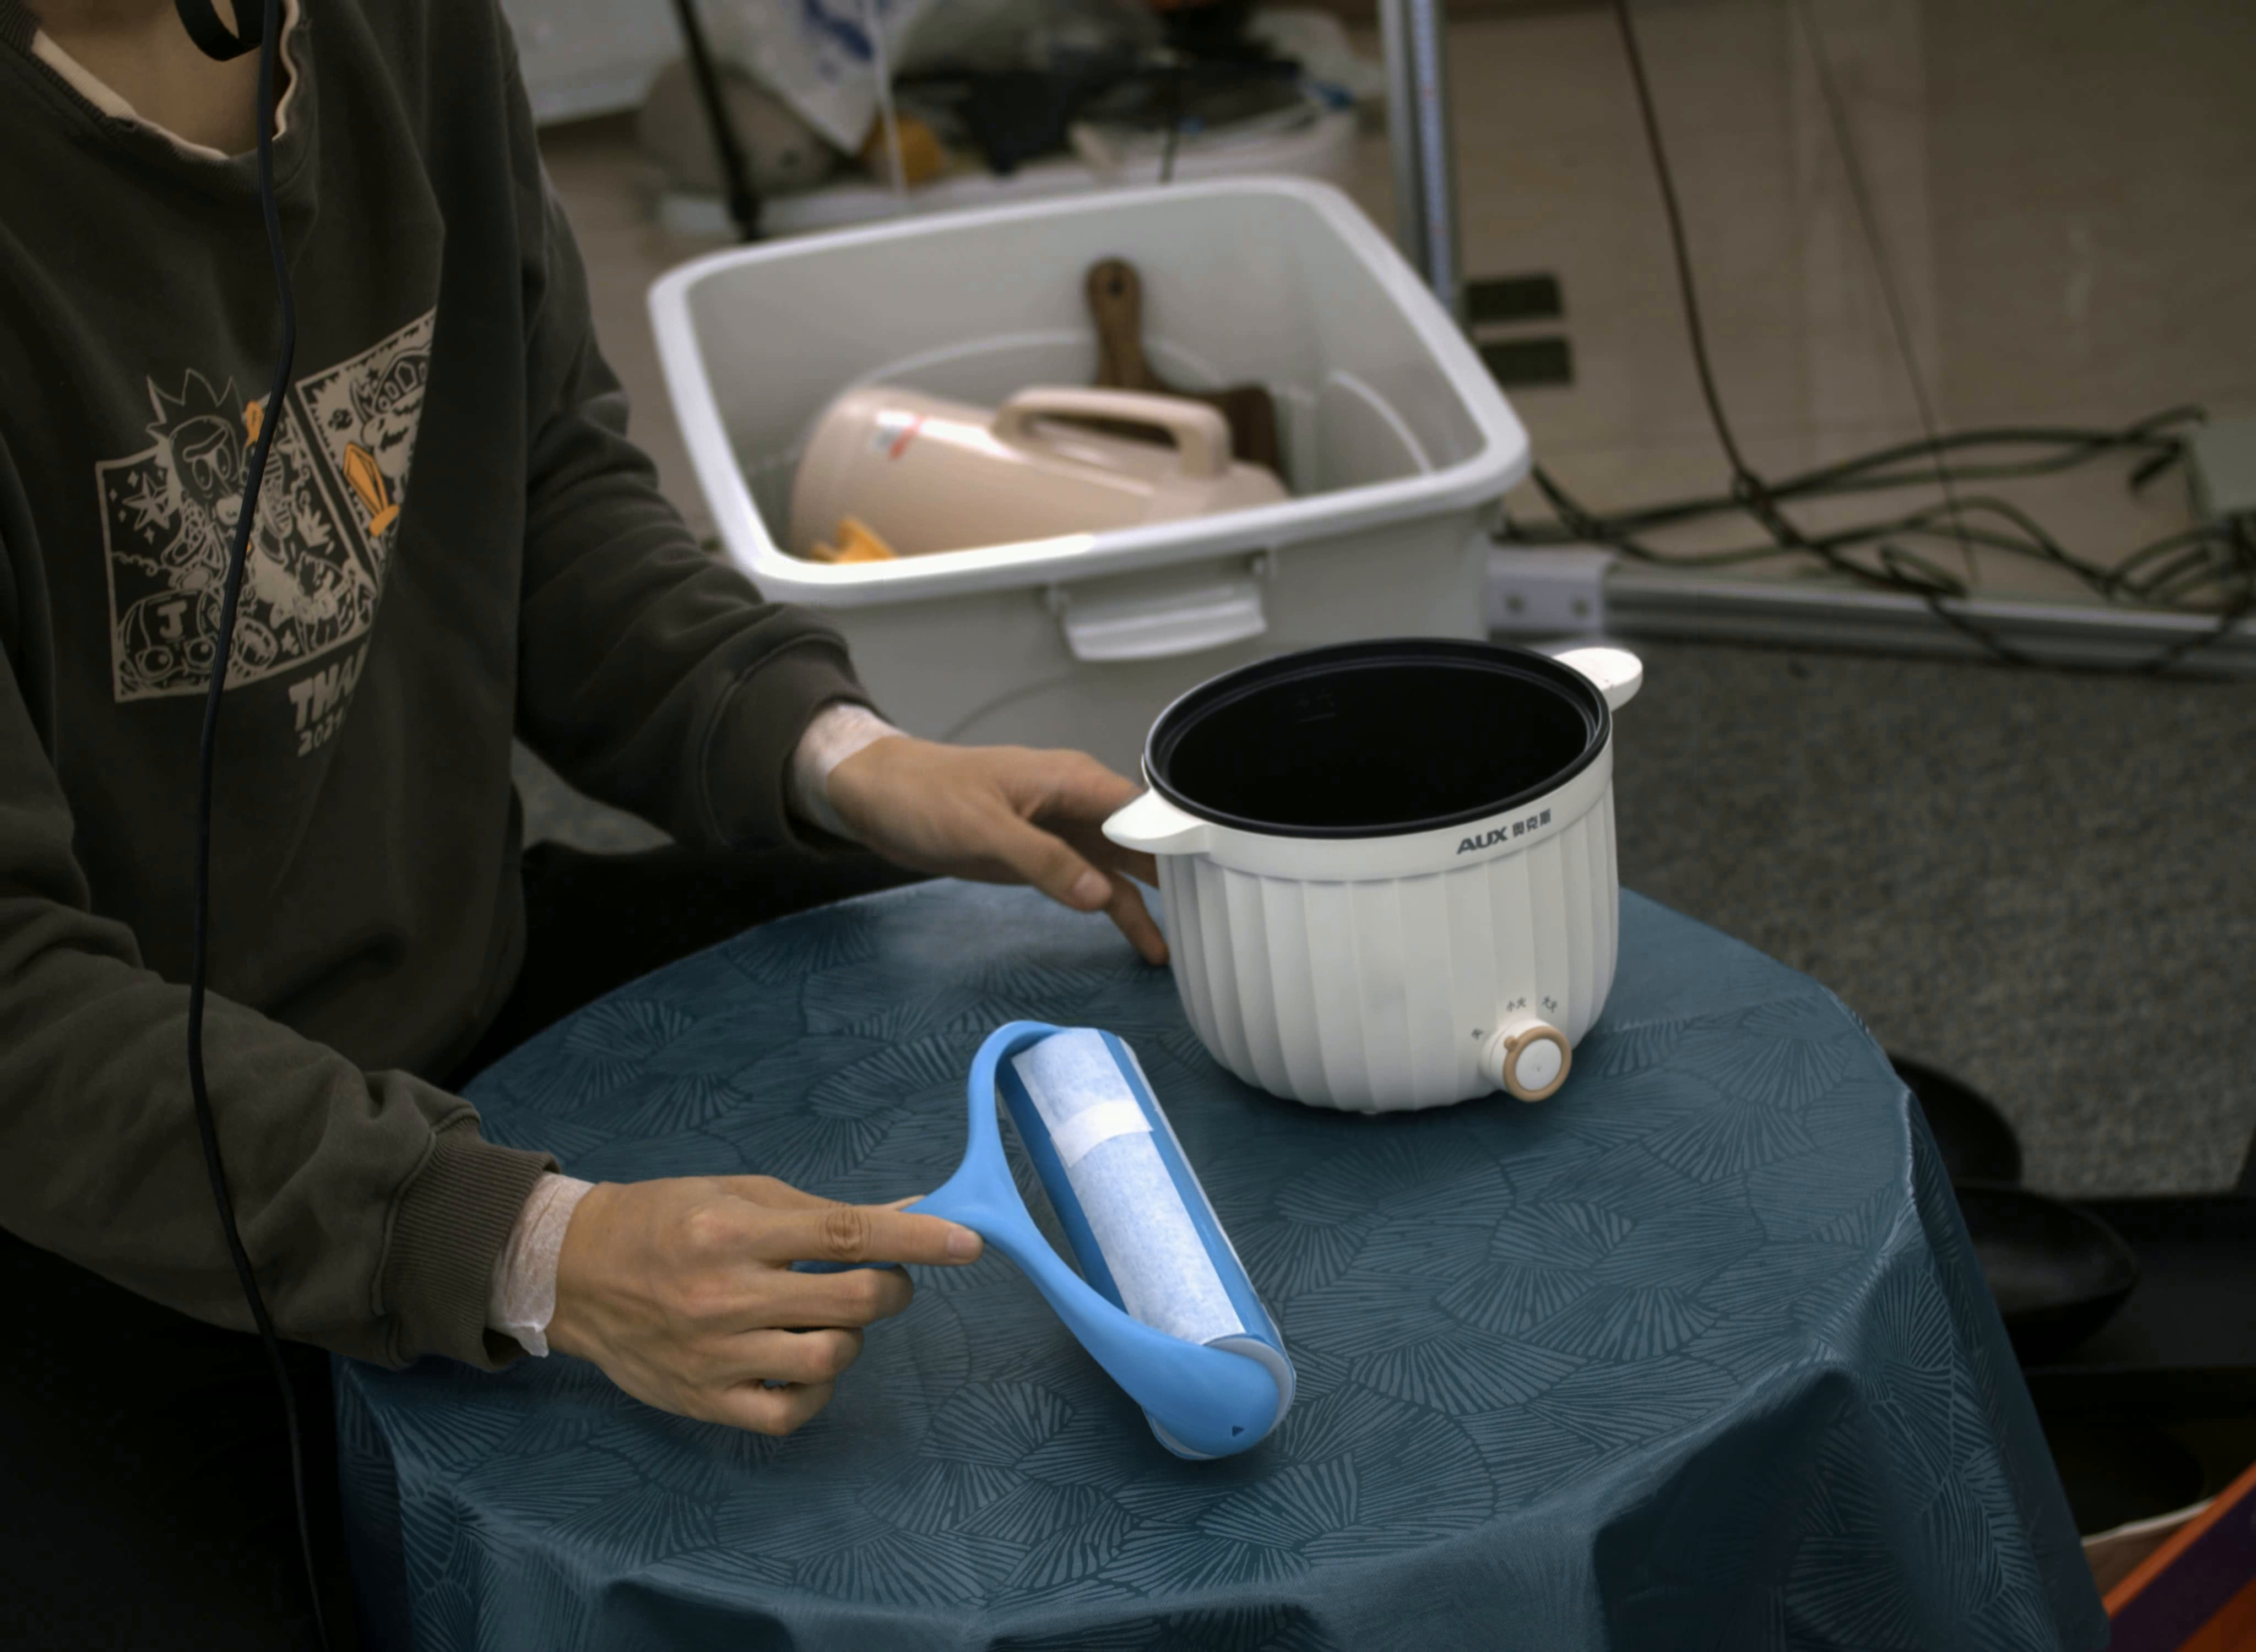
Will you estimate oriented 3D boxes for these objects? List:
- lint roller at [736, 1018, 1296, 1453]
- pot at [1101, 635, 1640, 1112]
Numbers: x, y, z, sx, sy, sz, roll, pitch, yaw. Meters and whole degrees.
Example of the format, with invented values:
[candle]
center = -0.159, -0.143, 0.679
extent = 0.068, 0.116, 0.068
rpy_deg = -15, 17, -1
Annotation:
[lint roller]
center = -0.051, 0.154, 2.008
extent = 0.180, 0.069, 0.225
rpy_deg = -11, 36, -15
[pot]
center = 0.106, 0.023, 2.201
extent = 0.239, 0.145, 0.188
rpy_deg = -20, 26, -24
